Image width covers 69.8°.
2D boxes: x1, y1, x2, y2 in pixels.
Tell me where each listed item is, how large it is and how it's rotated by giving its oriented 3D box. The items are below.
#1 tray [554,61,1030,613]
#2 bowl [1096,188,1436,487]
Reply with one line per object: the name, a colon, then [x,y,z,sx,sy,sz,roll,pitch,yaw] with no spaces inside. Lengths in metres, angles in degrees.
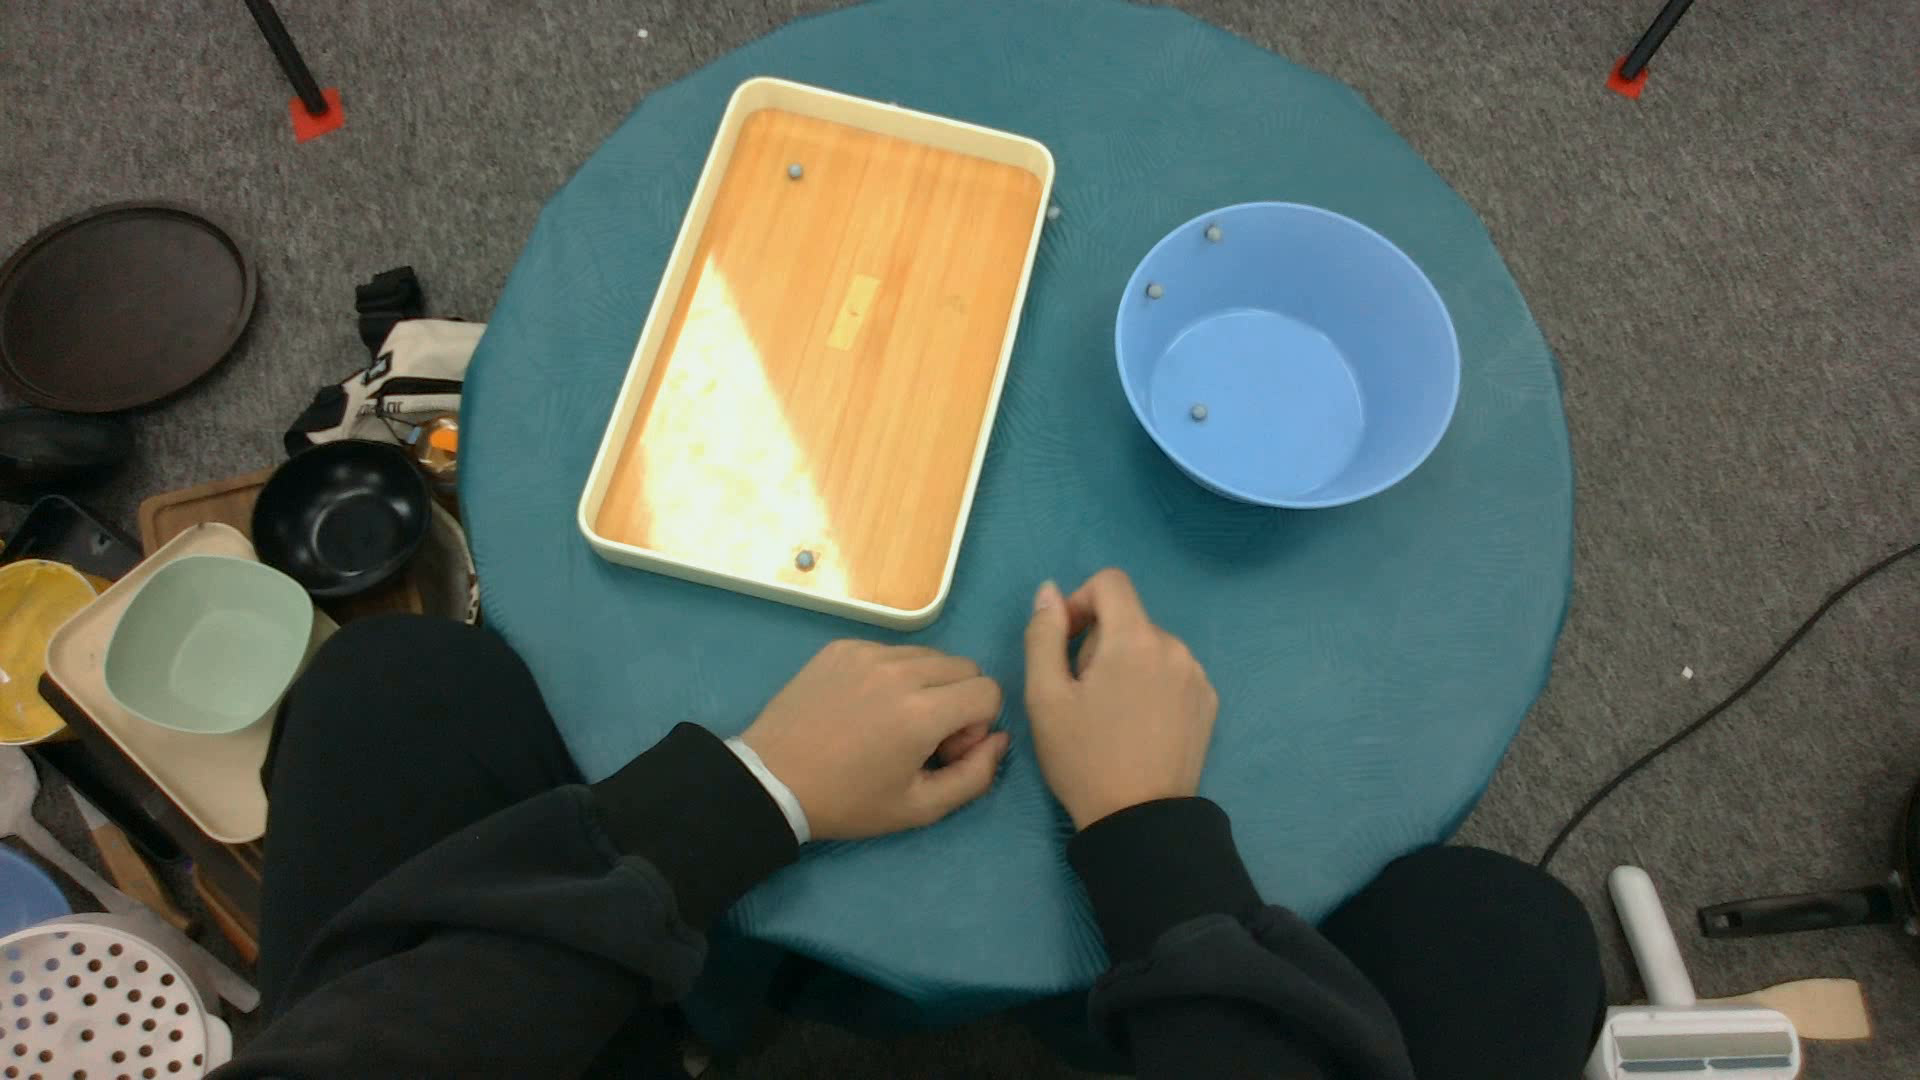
tray: [-0.081,-0.118,0.743,0.191,0.027,0.301,13,67,1]
bowl: [0.154,-0.095,0.729,0.176,0.070,0.176,2,67,-4]
